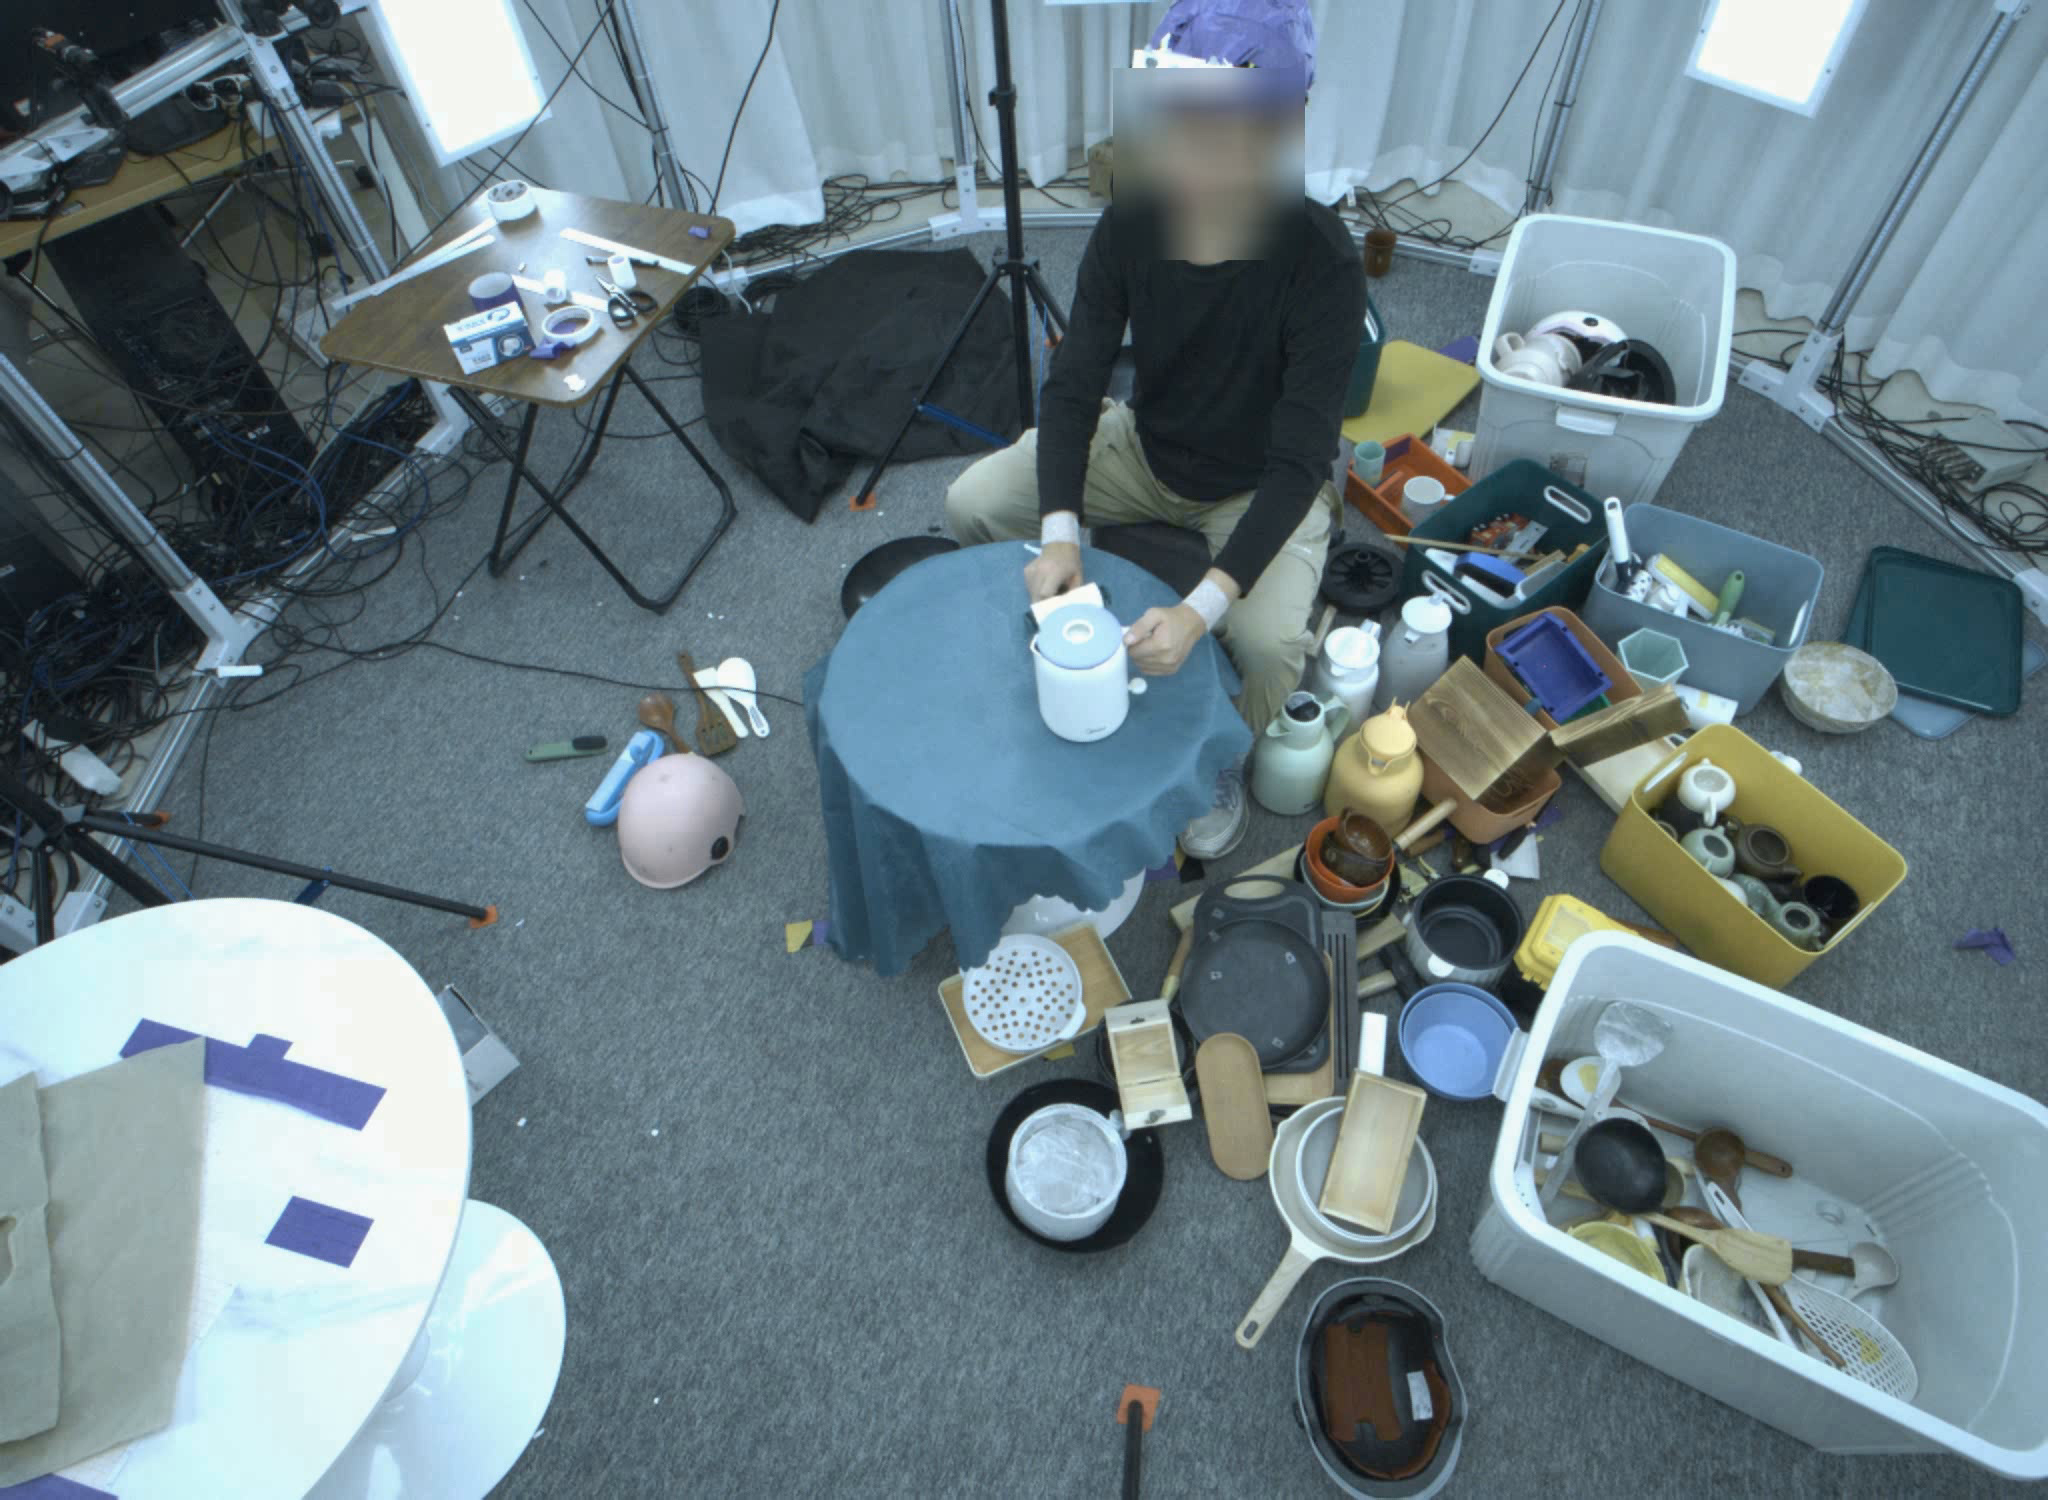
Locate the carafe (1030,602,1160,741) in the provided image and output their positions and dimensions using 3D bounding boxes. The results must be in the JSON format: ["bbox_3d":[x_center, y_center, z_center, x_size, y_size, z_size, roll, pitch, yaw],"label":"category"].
[{"bbox_3d":[0.104,-0.117,1.759,0.192,0.184,0.130,-15,56,-8],"label":"carafe"}]

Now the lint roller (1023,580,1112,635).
[{"bbox_3d":[0.051,-0.236,1.847,0.134,0.049,0.177,-20,34,-3],"label":"lint roller"}]
